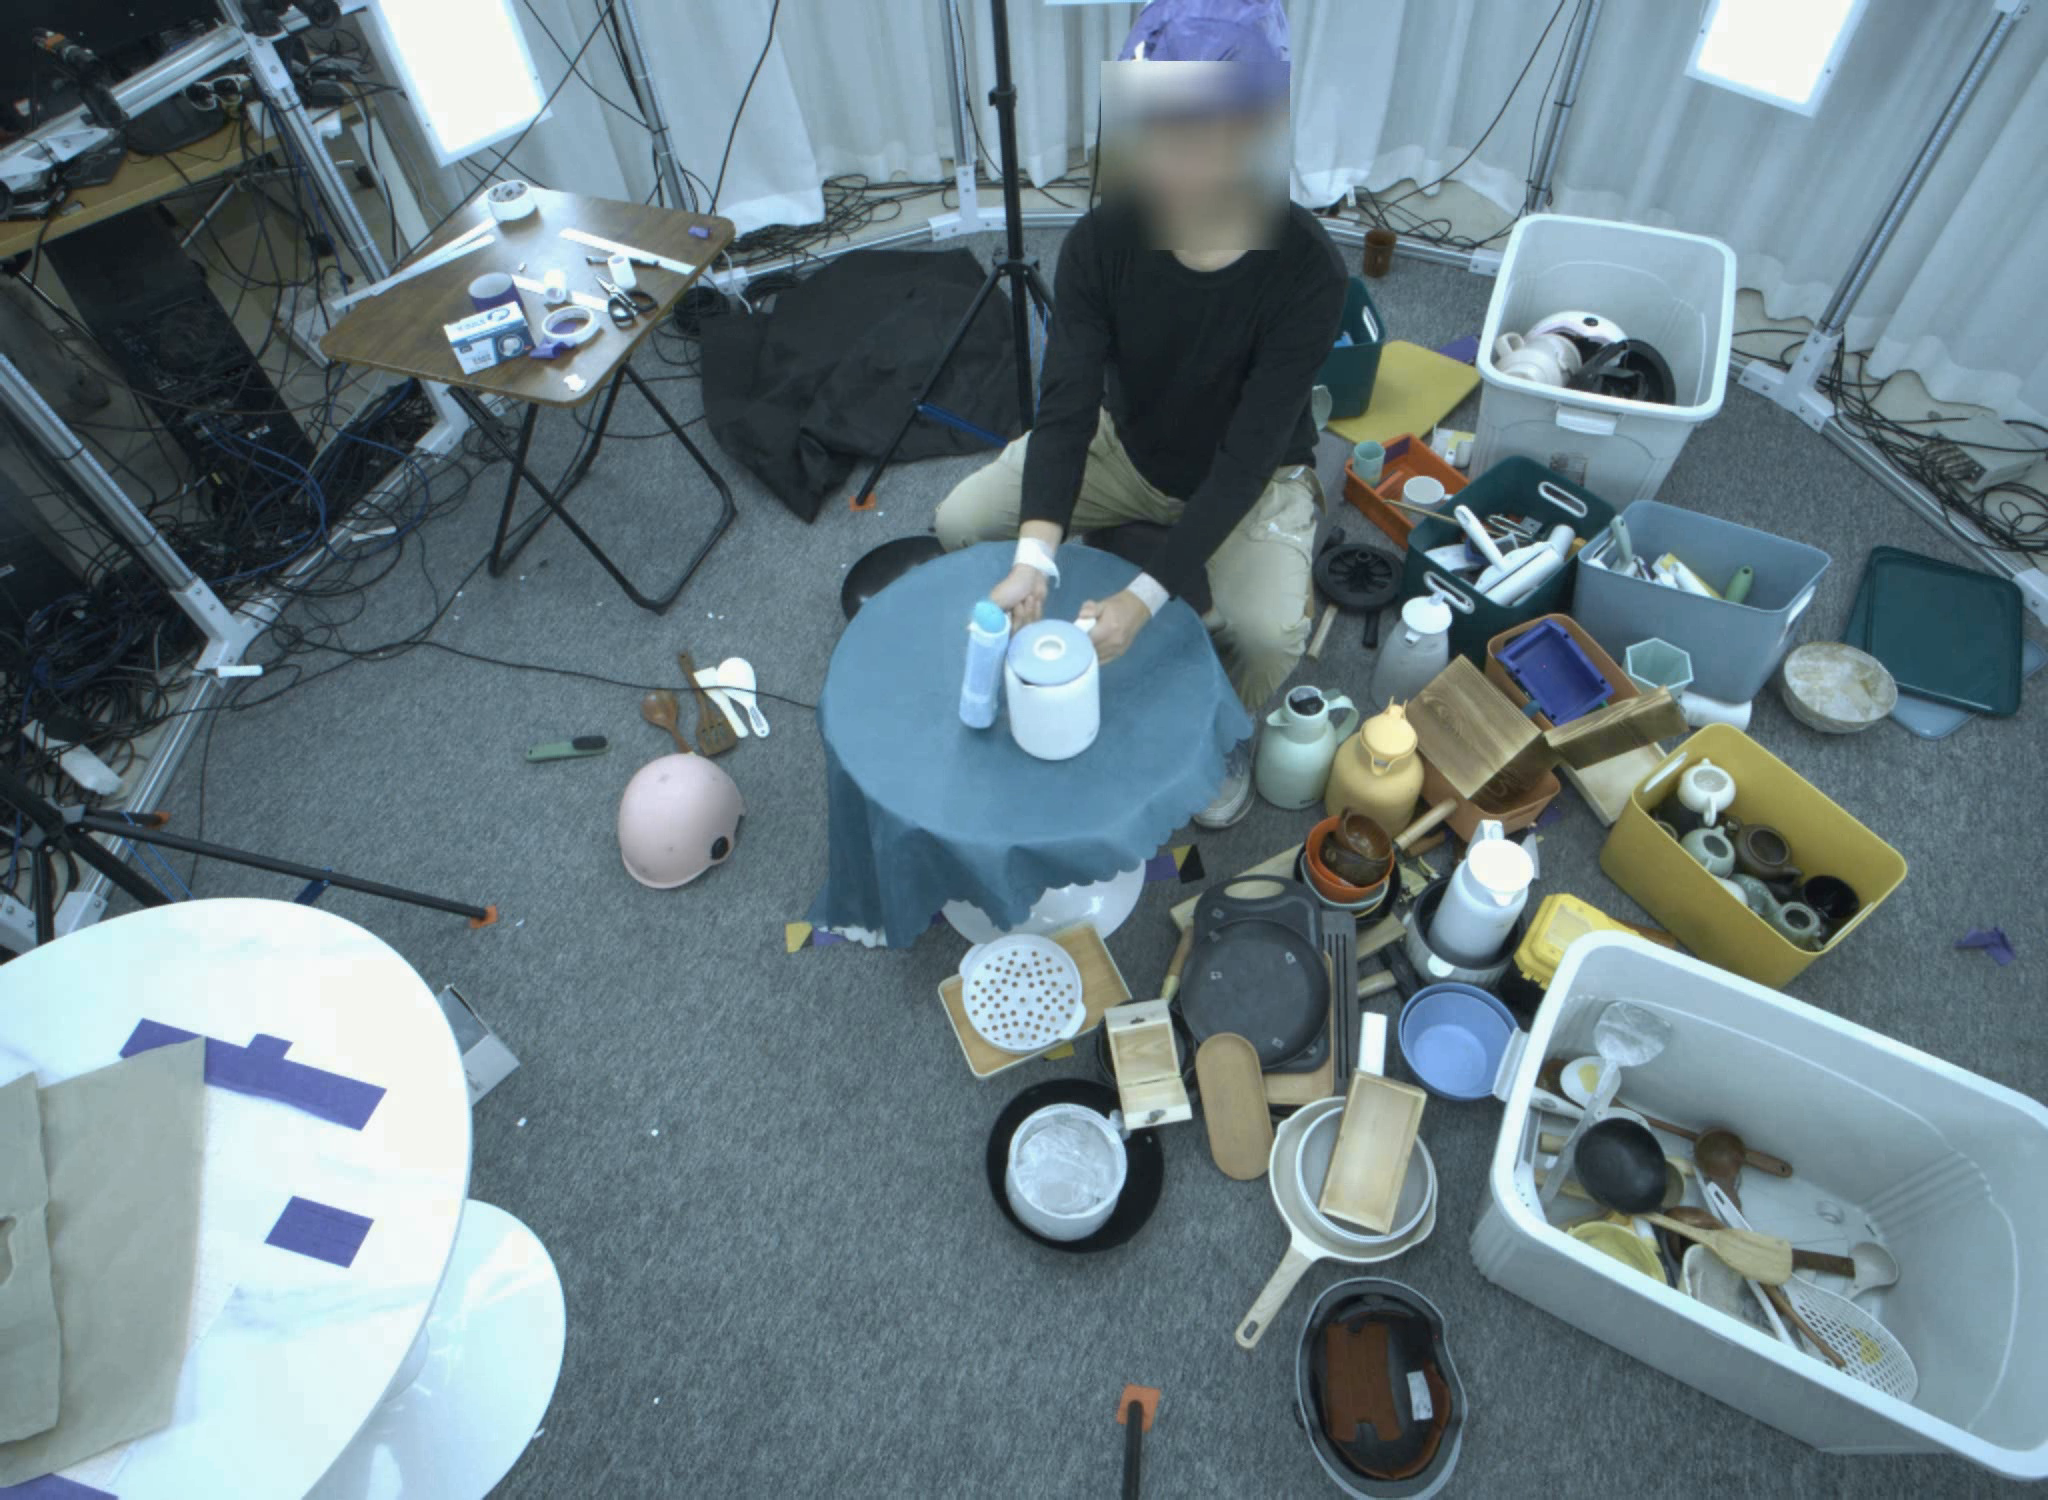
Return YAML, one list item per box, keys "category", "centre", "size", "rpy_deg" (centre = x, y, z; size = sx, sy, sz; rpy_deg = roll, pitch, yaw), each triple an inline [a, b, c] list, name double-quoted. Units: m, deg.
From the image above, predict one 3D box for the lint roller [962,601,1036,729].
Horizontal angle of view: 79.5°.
- category: "lint roller"
  centre: [-0.039, -0.153, 1.759]
  size: [0.068, 0.230, 0.179]
  rpy_deg: [15, 50, 6]

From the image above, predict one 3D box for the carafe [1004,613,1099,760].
- category: "carafe"
  centre: [0.053, -0.102, 1.752]
  size: [0.130, 0.184, 0.192]
  rpy_deg: [25, 57, 19]
